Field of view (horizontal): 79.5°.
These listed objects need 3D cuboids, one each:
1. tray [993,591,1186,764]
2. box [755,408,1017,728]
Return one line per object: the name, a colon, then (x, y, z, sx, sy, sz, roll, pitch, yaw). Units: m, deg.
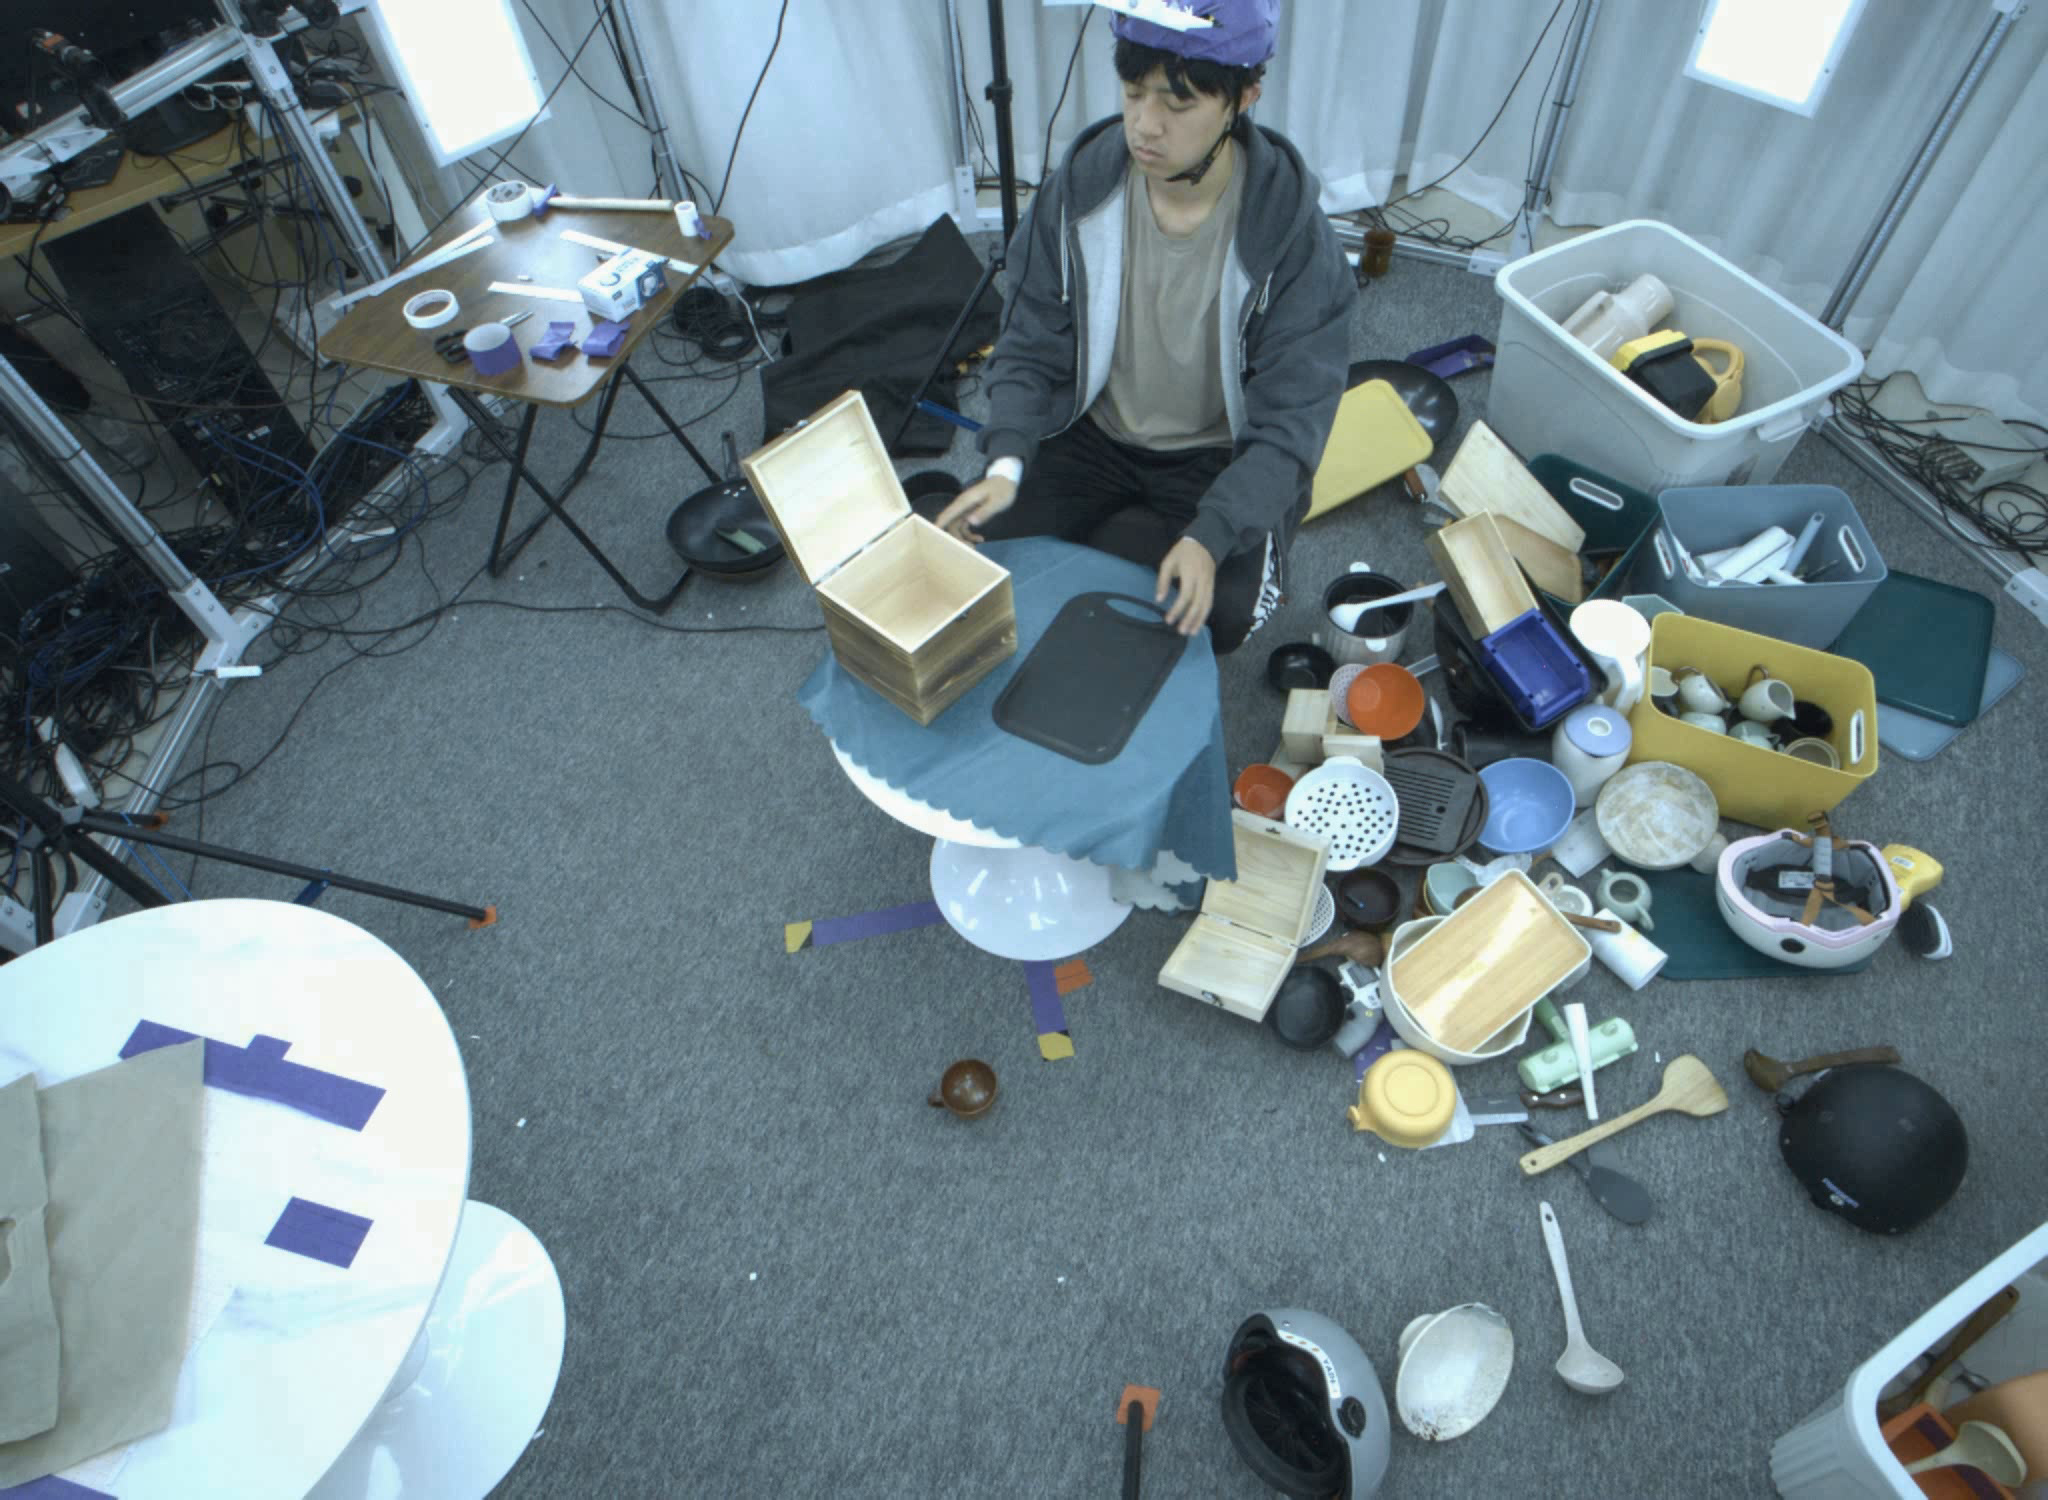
tray: (0.105, -0.123, 1.870, 0.208, 0.010, 0.326, 23, 59, 17)
box: (-0.202, -0.276, 1.771, 0.316, 0.380, 0.210, 35, 64, 25)
